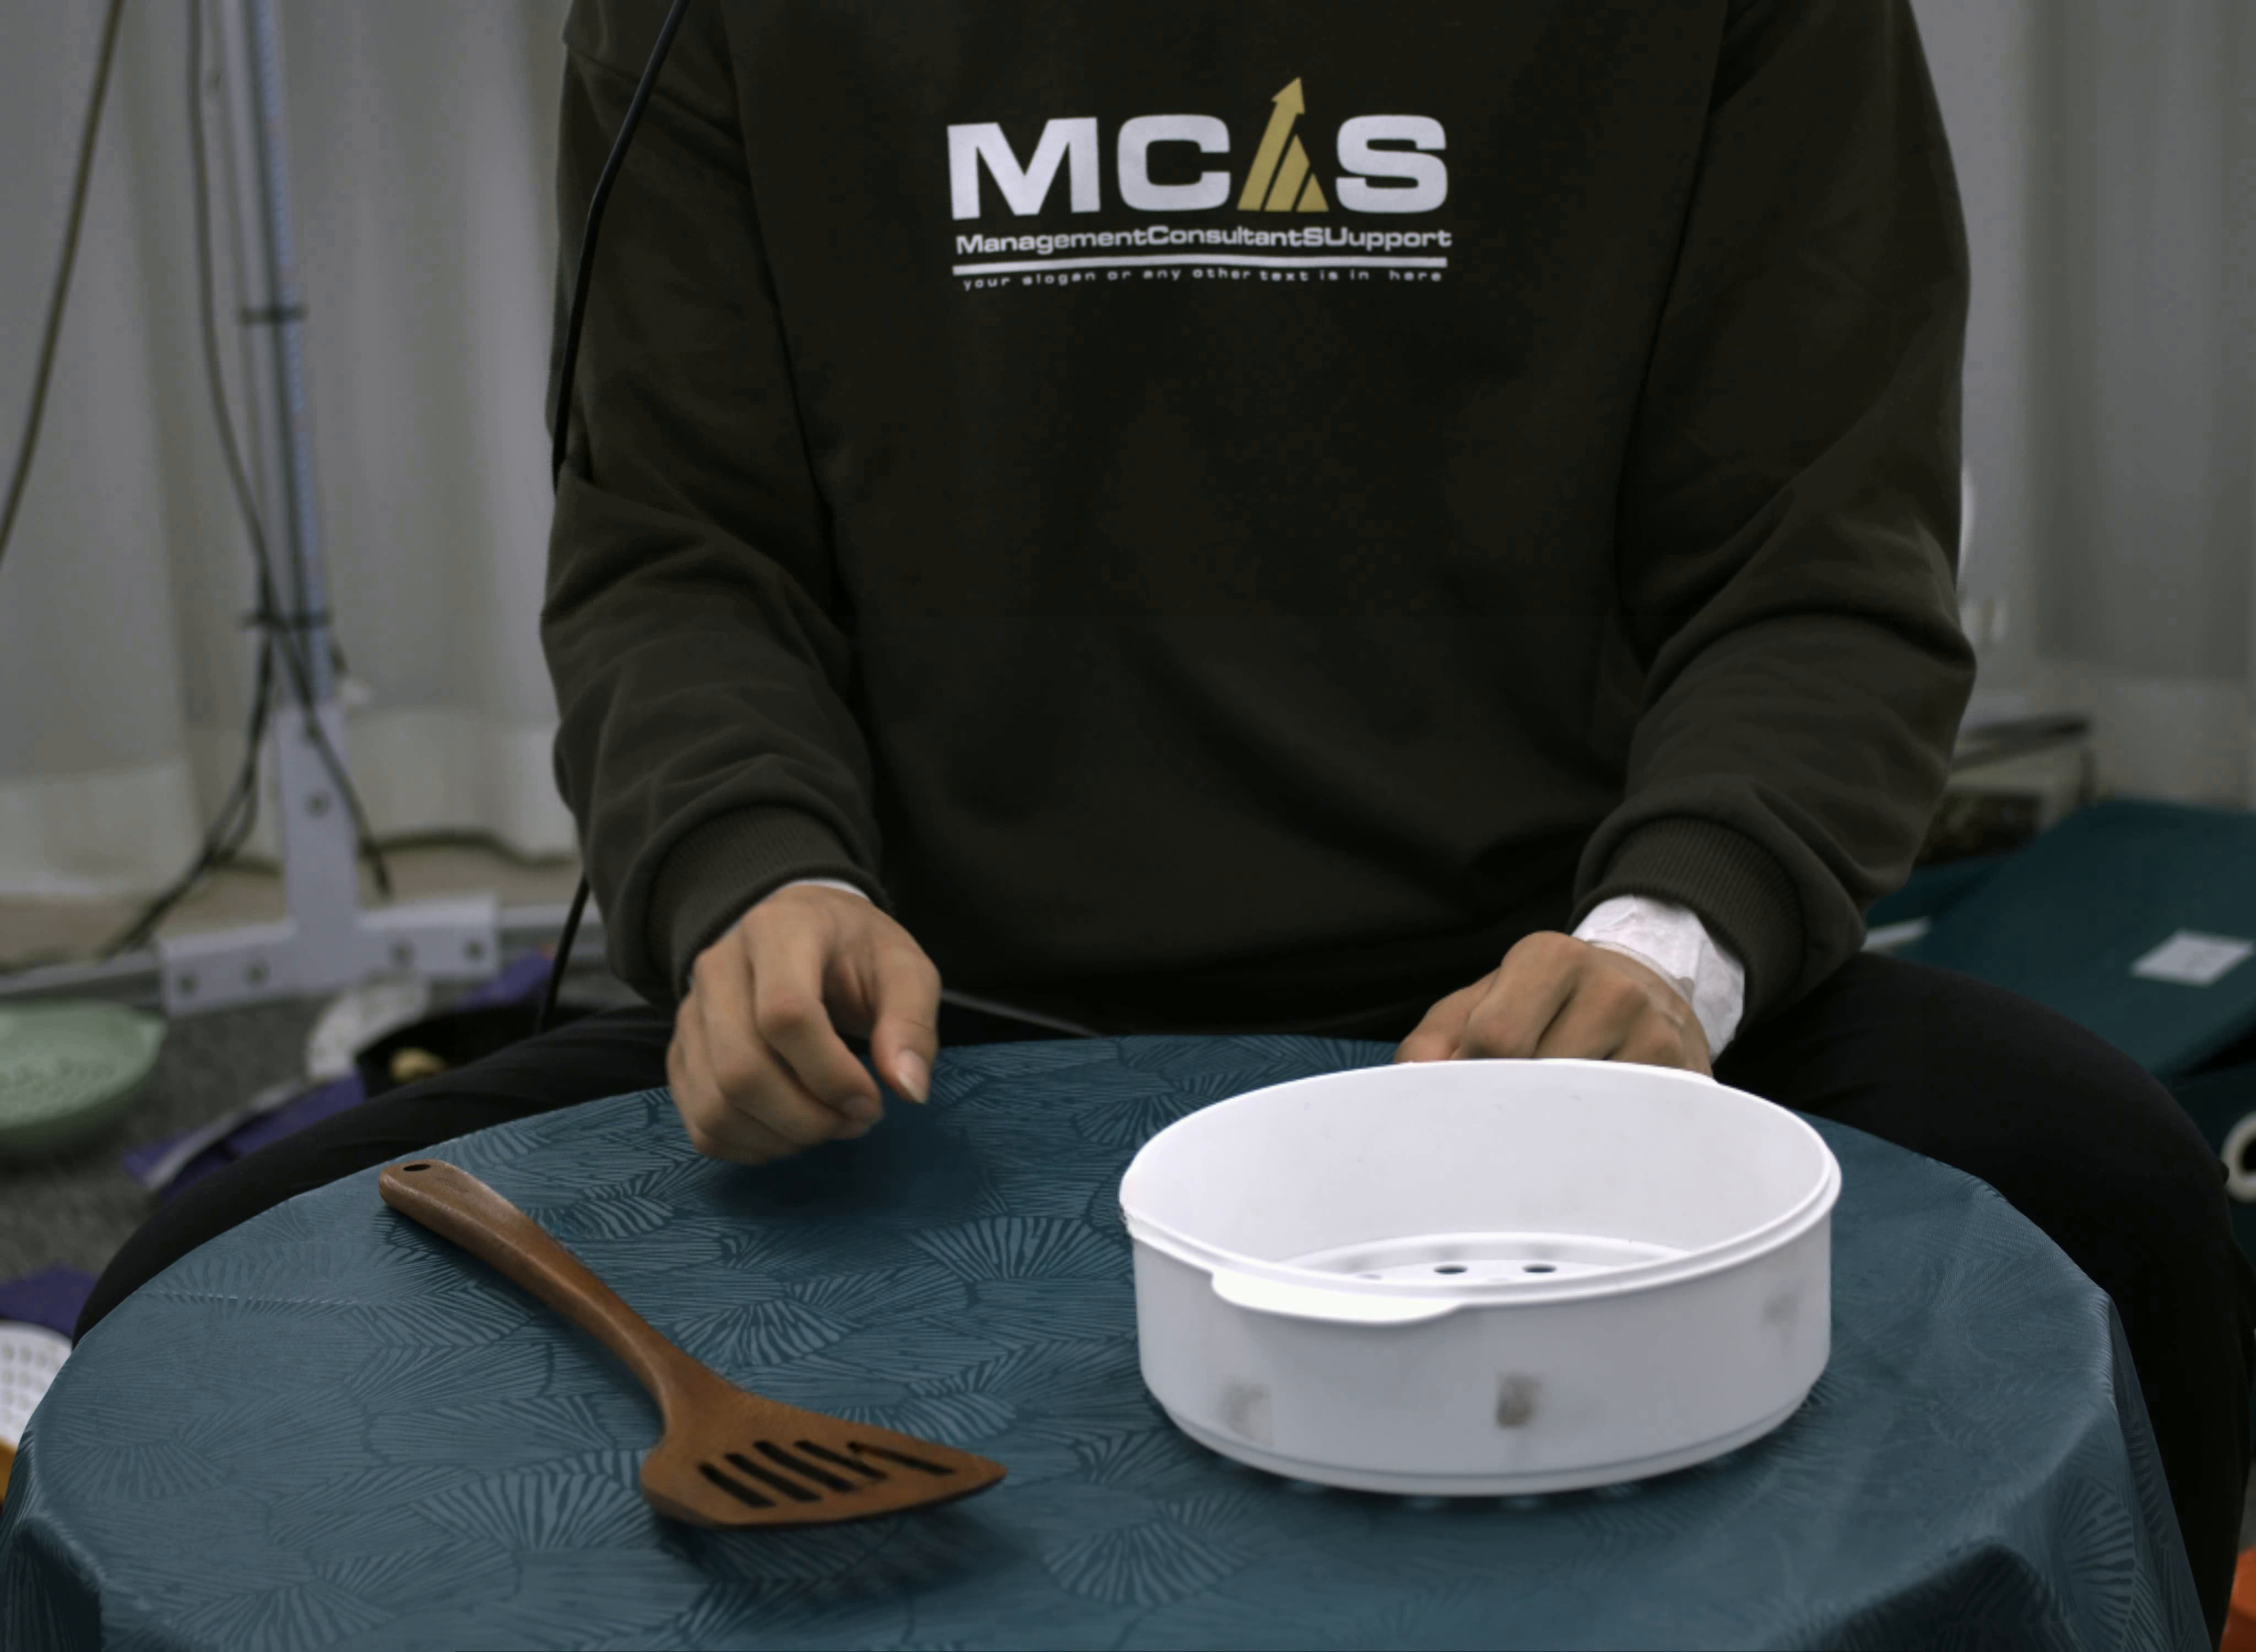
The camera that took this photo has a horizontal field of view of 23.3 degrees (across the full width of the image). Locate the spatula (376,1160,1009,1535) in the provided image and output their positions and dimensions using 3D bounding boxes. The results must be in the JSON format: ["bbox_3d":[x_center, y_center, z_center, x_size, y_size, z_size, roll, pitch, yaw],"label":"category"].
[{"bbox_3d":[-0.148,0.149,1.577,0.085,0.023,0.388,-7,14,-25],"label":"spatula"}]

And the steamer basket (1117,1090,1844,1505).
[{"bbox_3d":[0.097,0.131,1.521,0.202,0.069,0.230,7,14,27],"label":"steamer basket"}]
